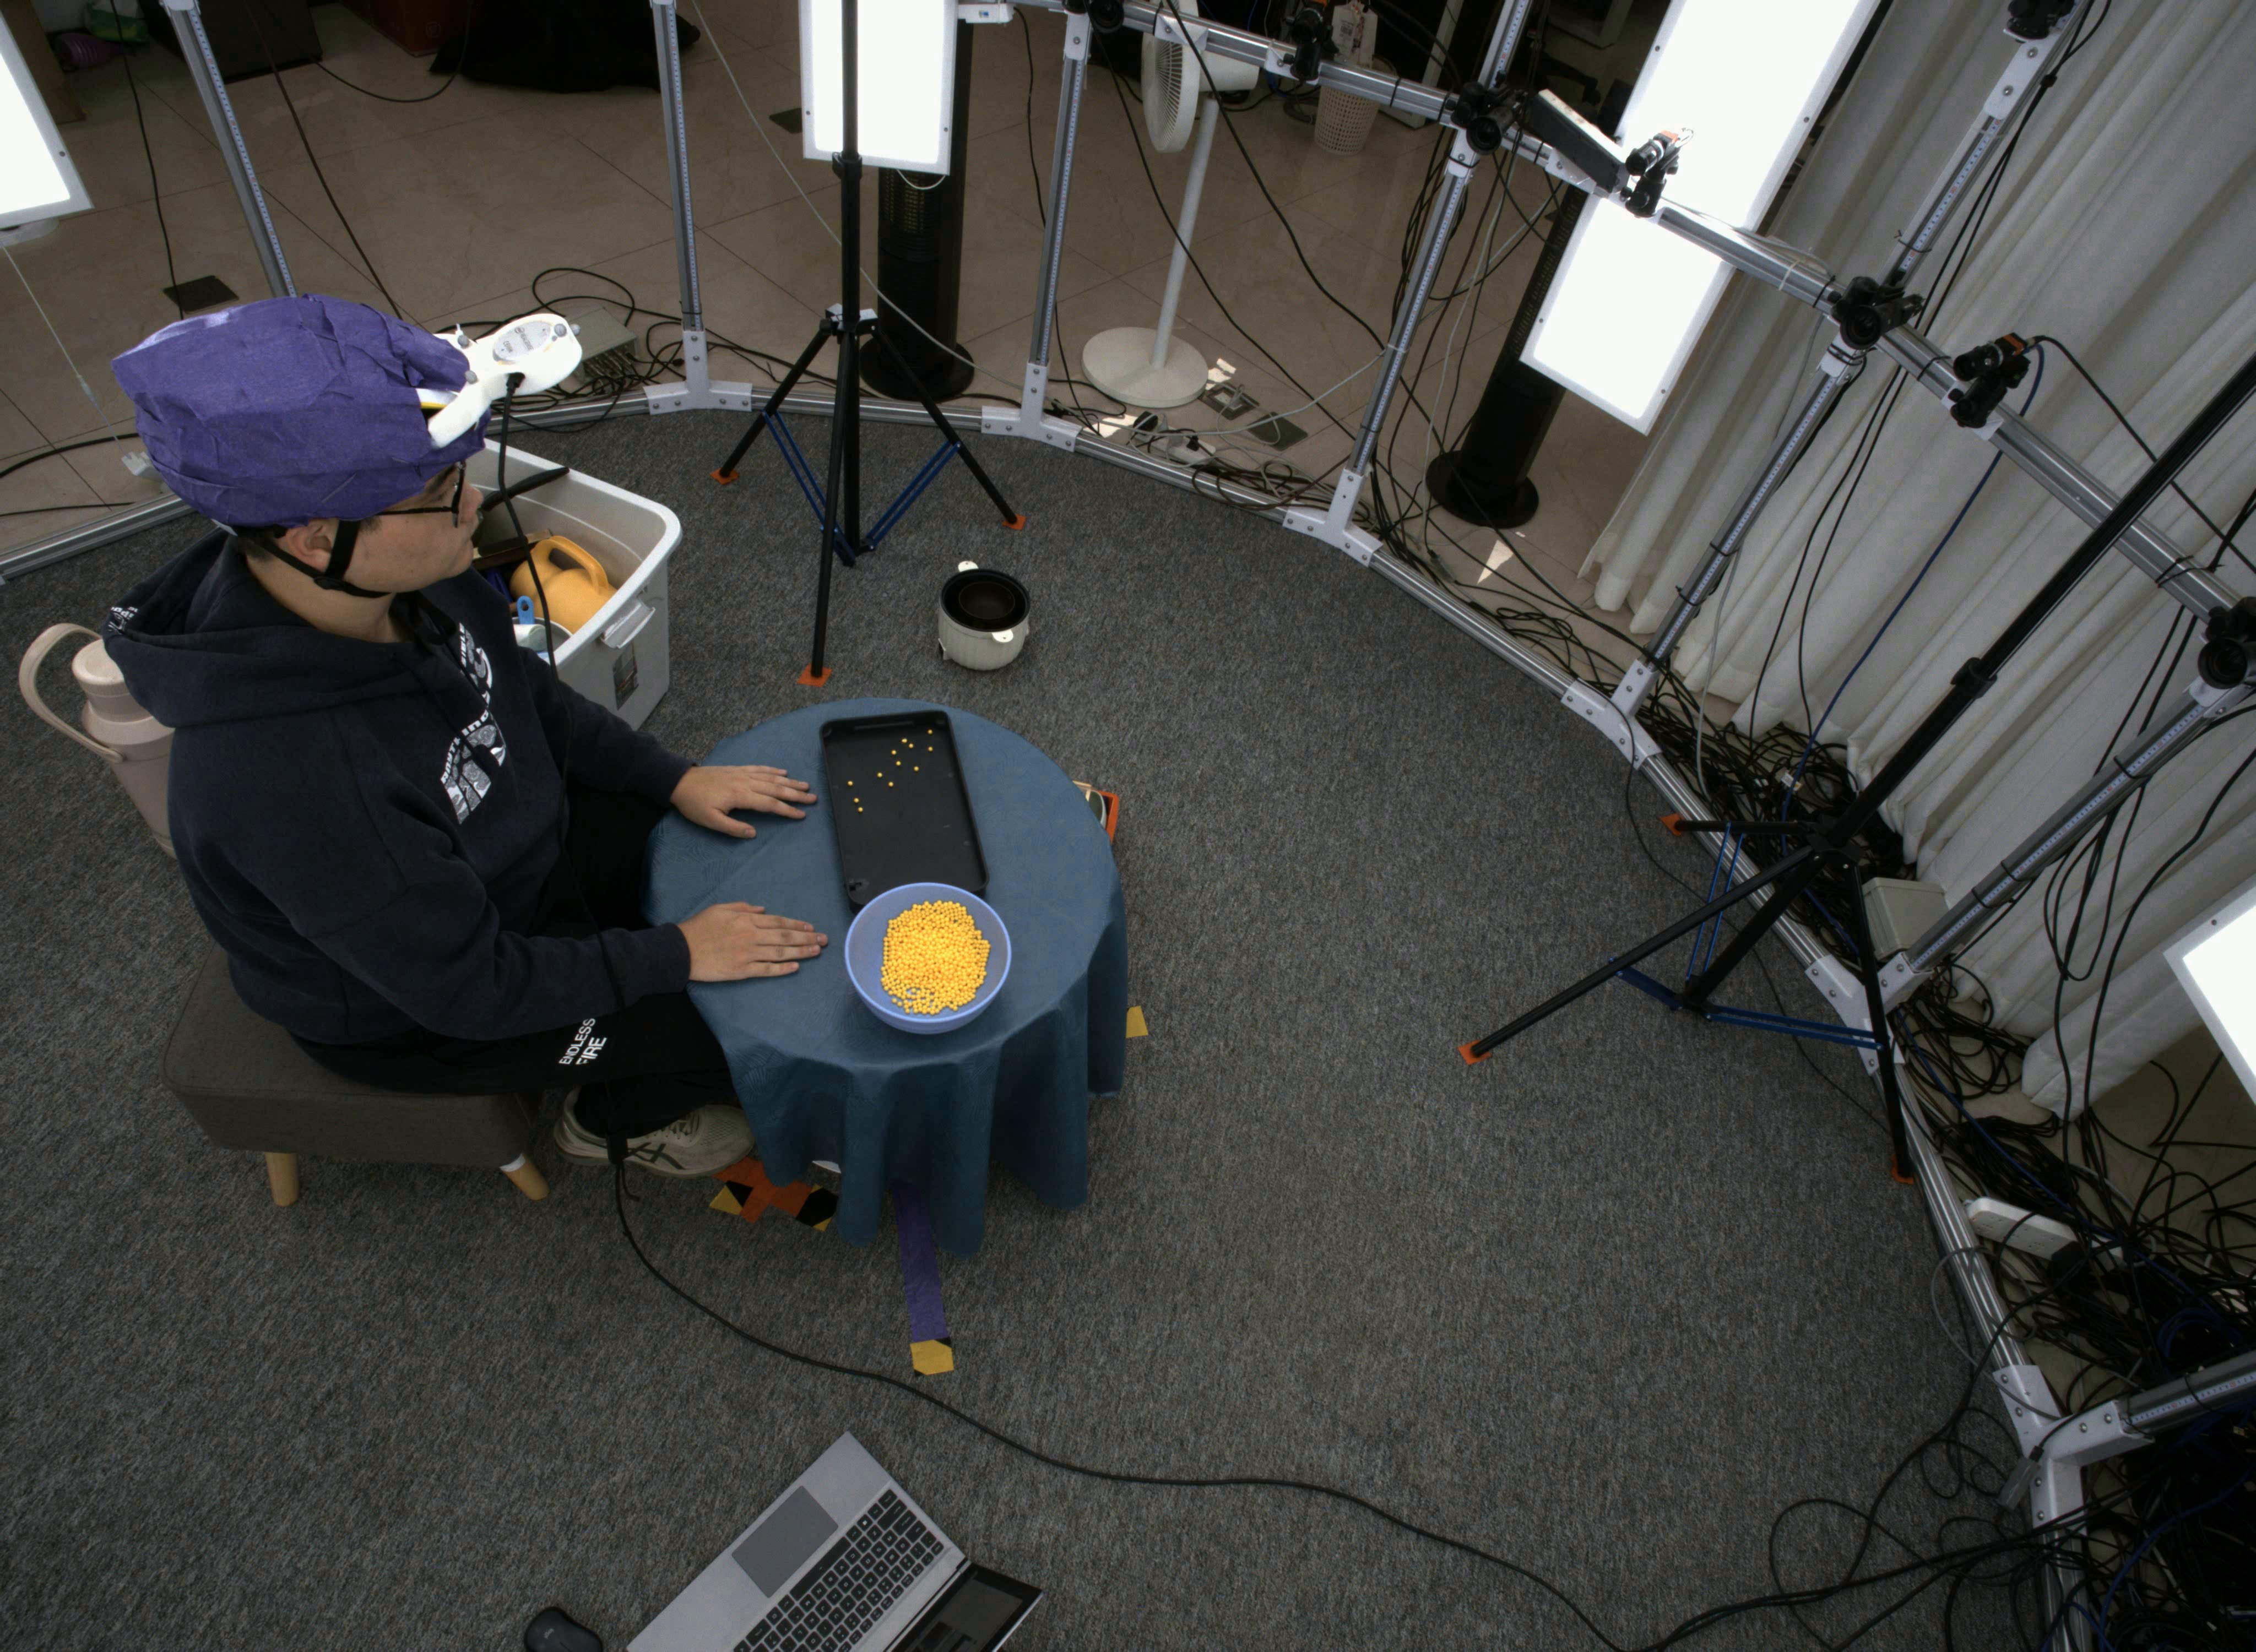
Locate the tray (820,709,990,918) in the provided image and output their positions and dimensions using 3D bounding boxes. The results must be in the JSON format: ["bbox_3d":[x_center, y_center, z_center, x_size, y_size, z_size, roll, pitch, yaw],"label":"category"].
[{"bbox_3d":[-0.303,-0.023,1.744,0.185,0.038,0.310,-6,55,-18],"label":"tray"}]

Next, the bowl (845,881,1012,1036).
[{"bbox_3d":[-0.242,0.173,1.575,0.196,0.097,0.193,7,53,-8],"label":"bowl"}]
